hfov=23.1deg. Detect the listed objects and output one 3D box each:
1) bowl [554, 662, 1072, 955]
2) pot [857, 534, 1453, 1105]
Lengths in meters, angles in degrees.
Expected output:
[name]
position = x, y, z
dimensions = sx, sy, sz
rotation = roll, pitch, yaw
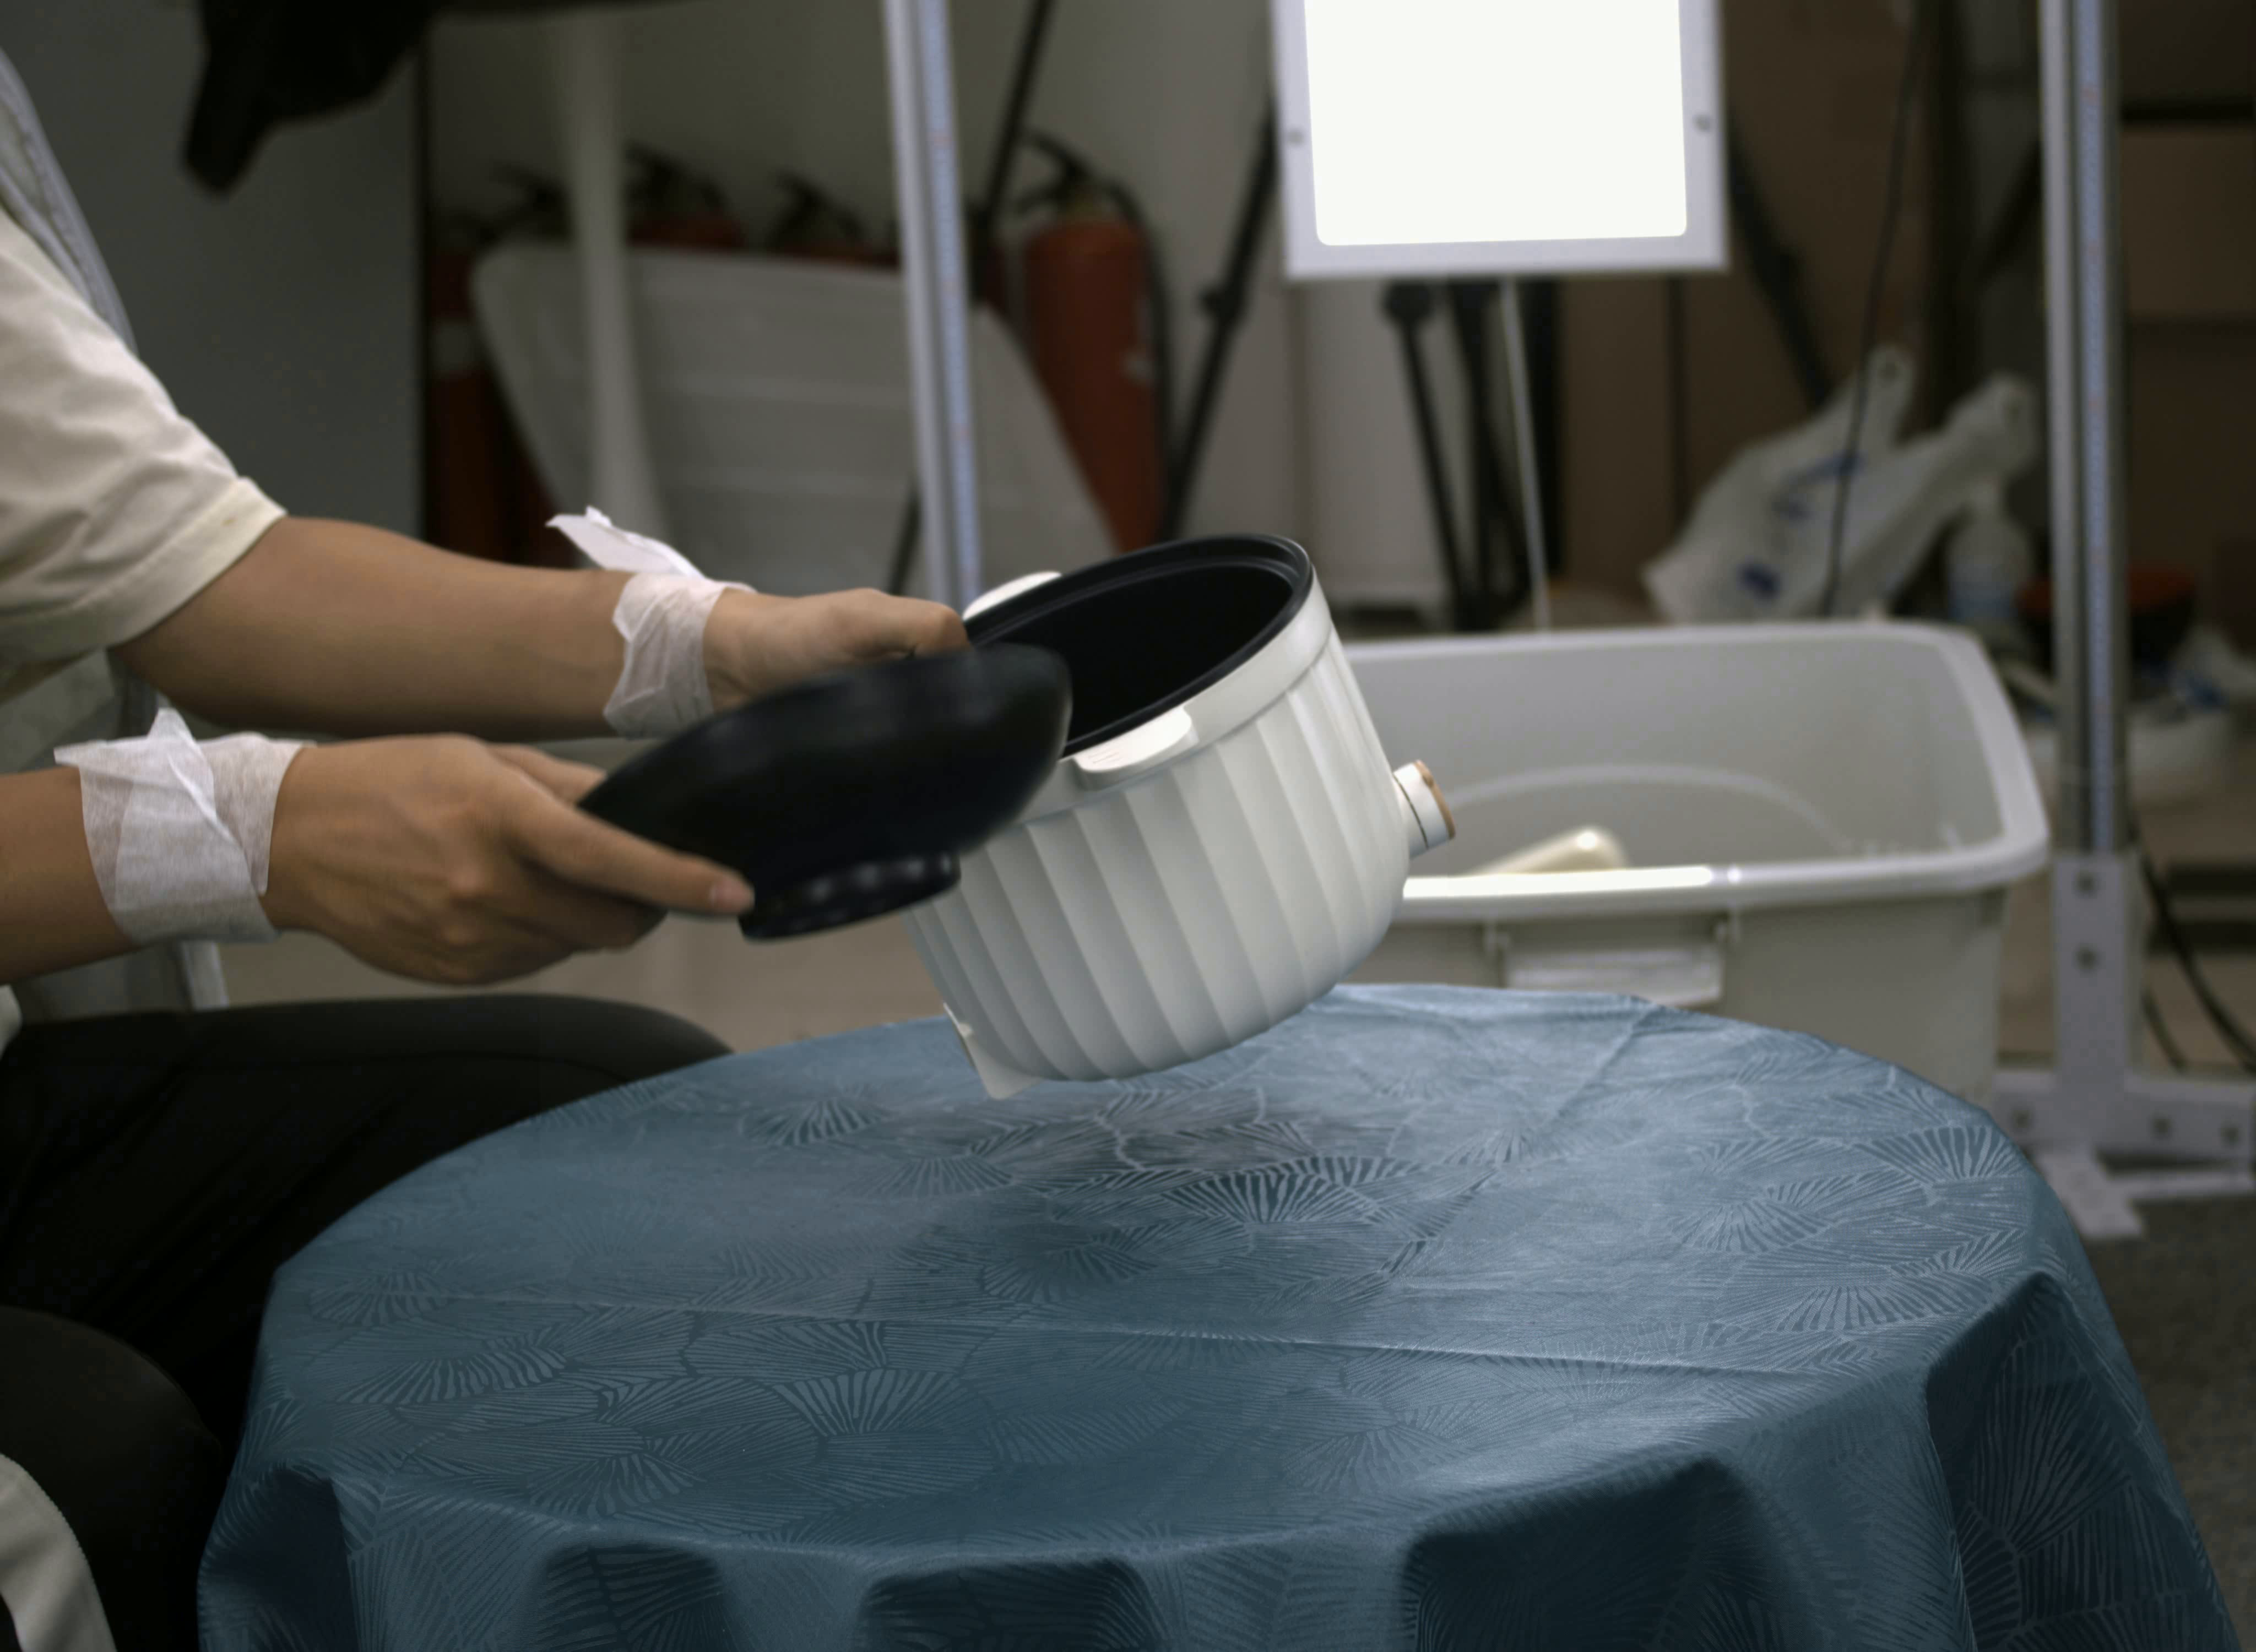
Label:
[bowl]
position = -0.092, 0.000, 1.713
dimensions = 0.168, 0.067, 0.138
rotation = -15, -7, -12
[pot]
position = 0.007, -0.003, 1.916
dimensions = 0.190, 0.142, 0.242
rotation = -28, 20, -4
